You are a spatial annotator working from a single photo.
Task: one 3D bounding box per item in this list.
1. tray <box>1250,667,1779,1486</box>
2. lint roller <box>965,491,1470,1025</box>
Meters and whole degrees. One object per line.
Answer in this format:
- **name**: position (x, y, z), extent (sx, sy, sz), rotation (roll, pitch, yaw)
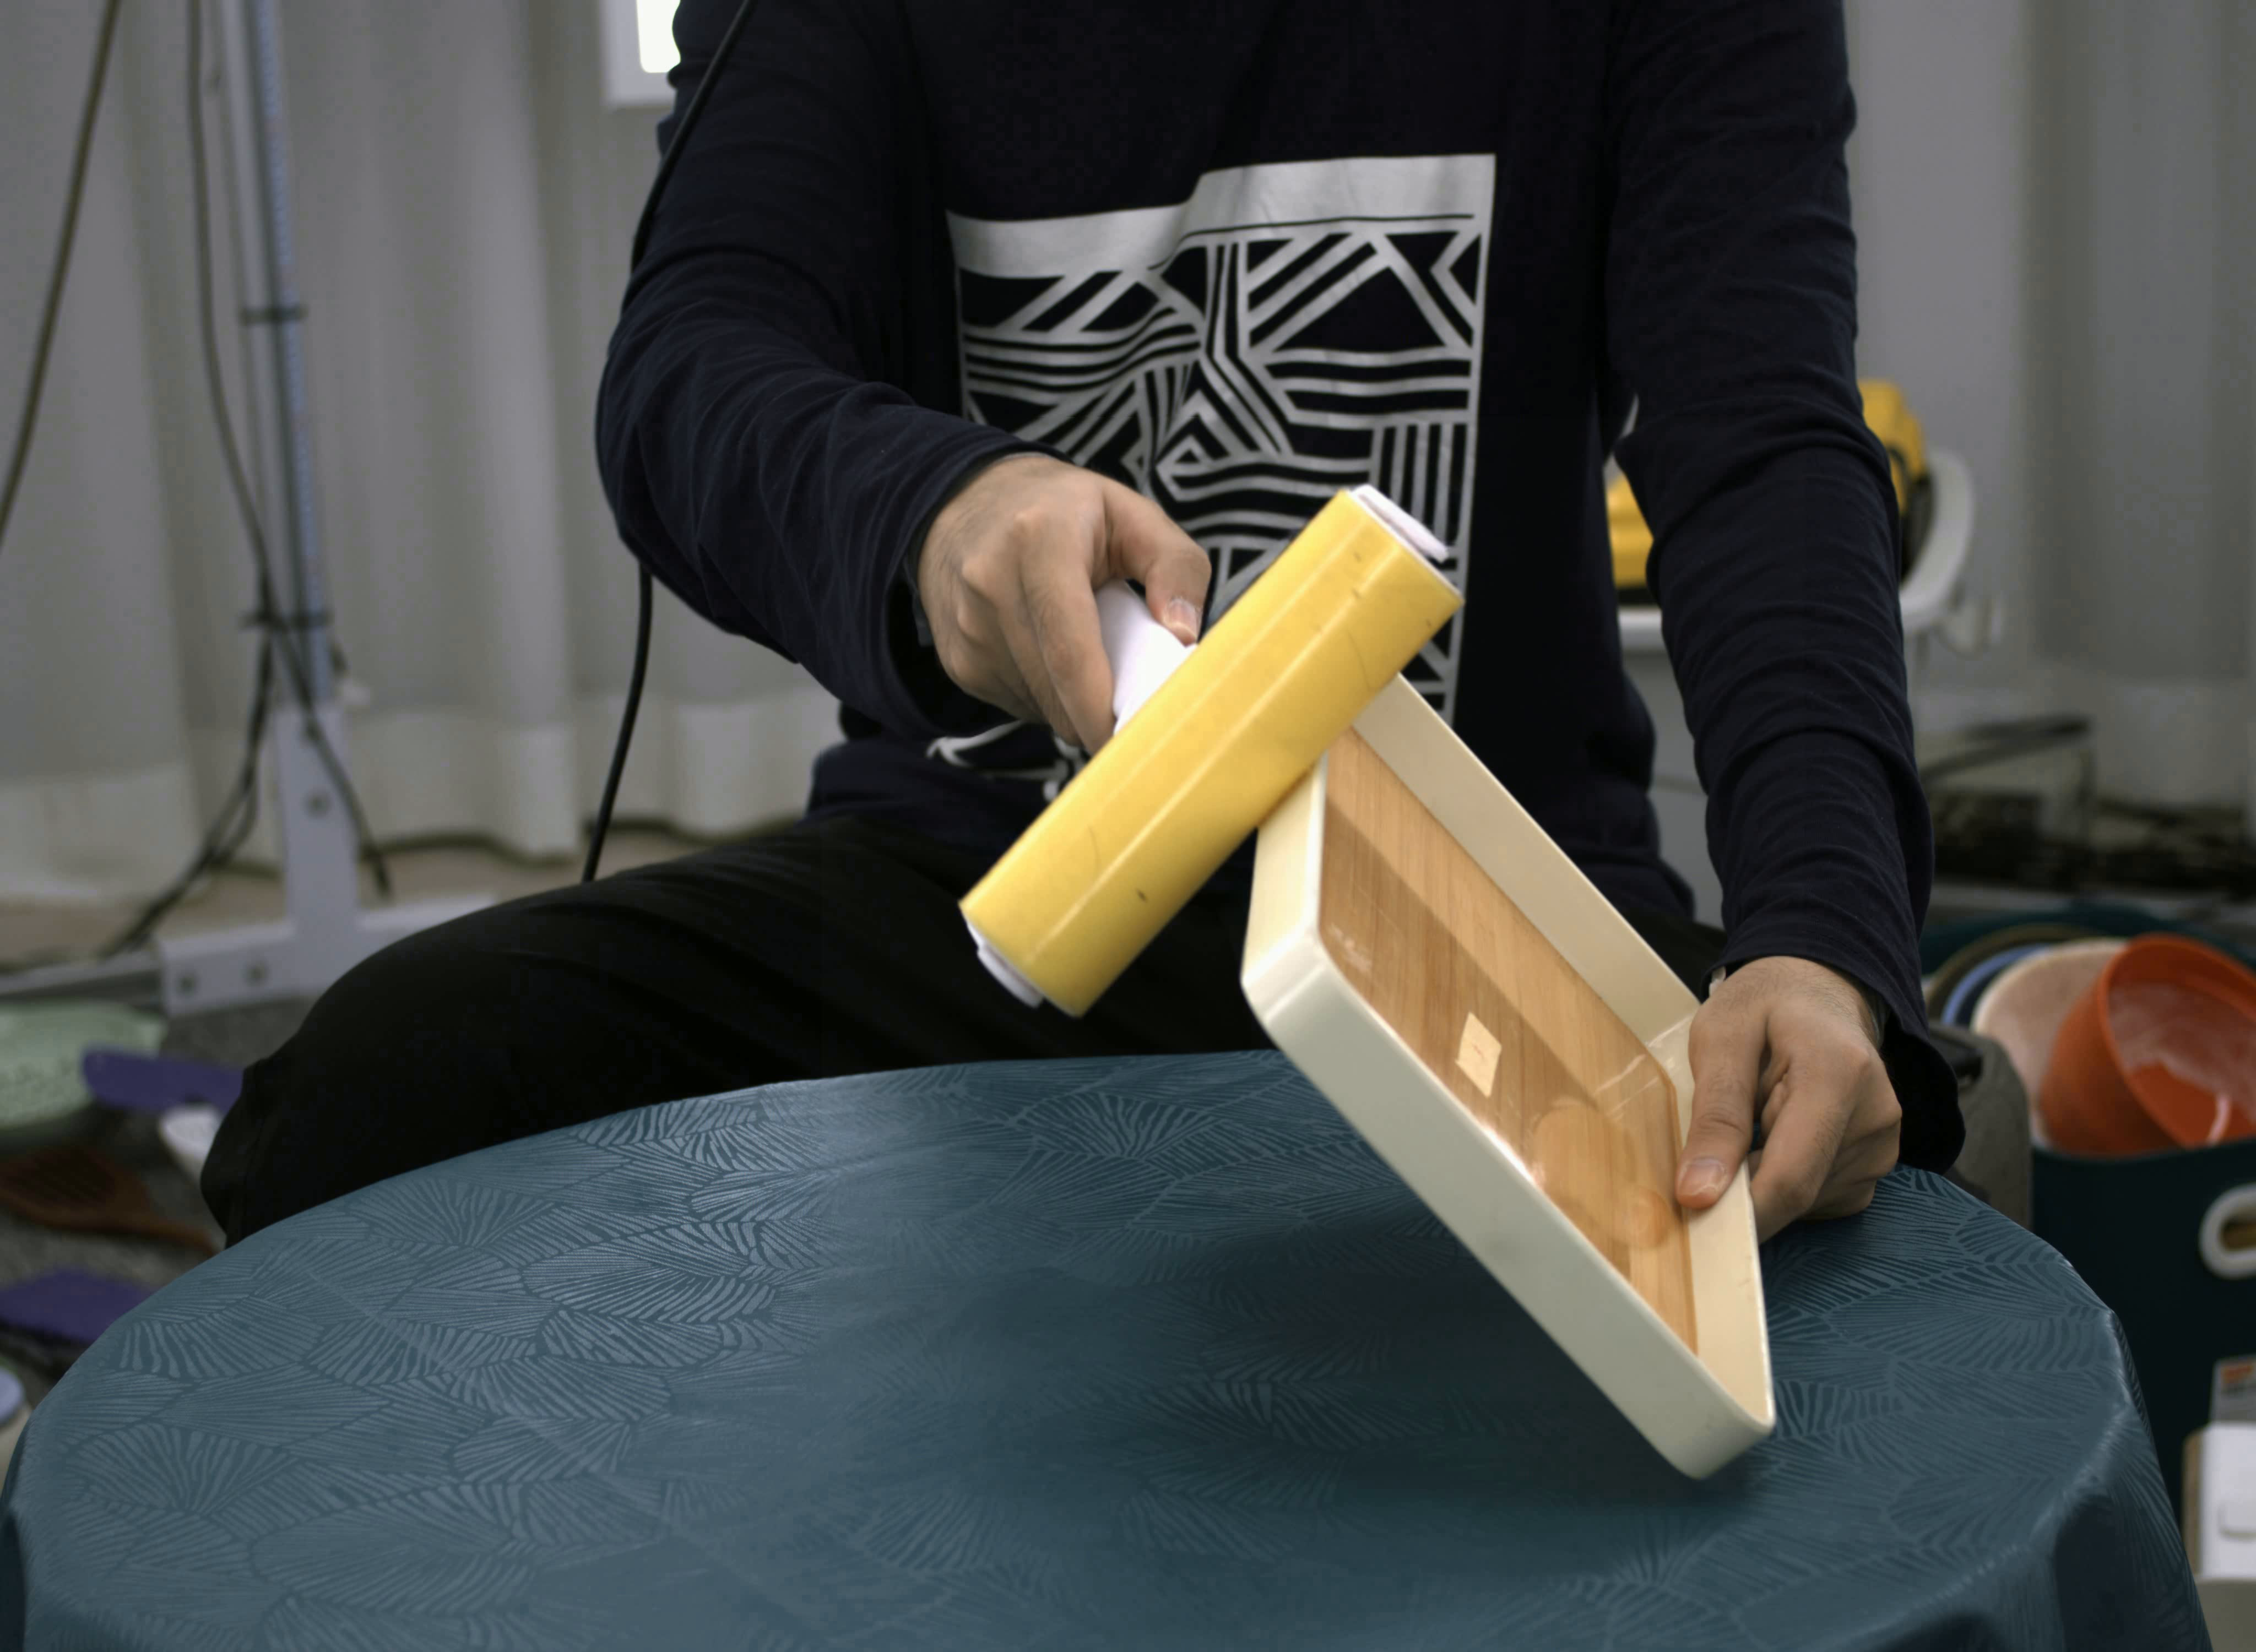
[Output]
- **tray**: position (0.108, 0.057, 1.560), extent (0.027, 0.190, 0.302), rotation (-40, 12, 15)
- **lint roller**: position (-0.001, -0.044, 1.596), extent (0.051, 0.174, 0.194), rotation (41, 2, -32)
